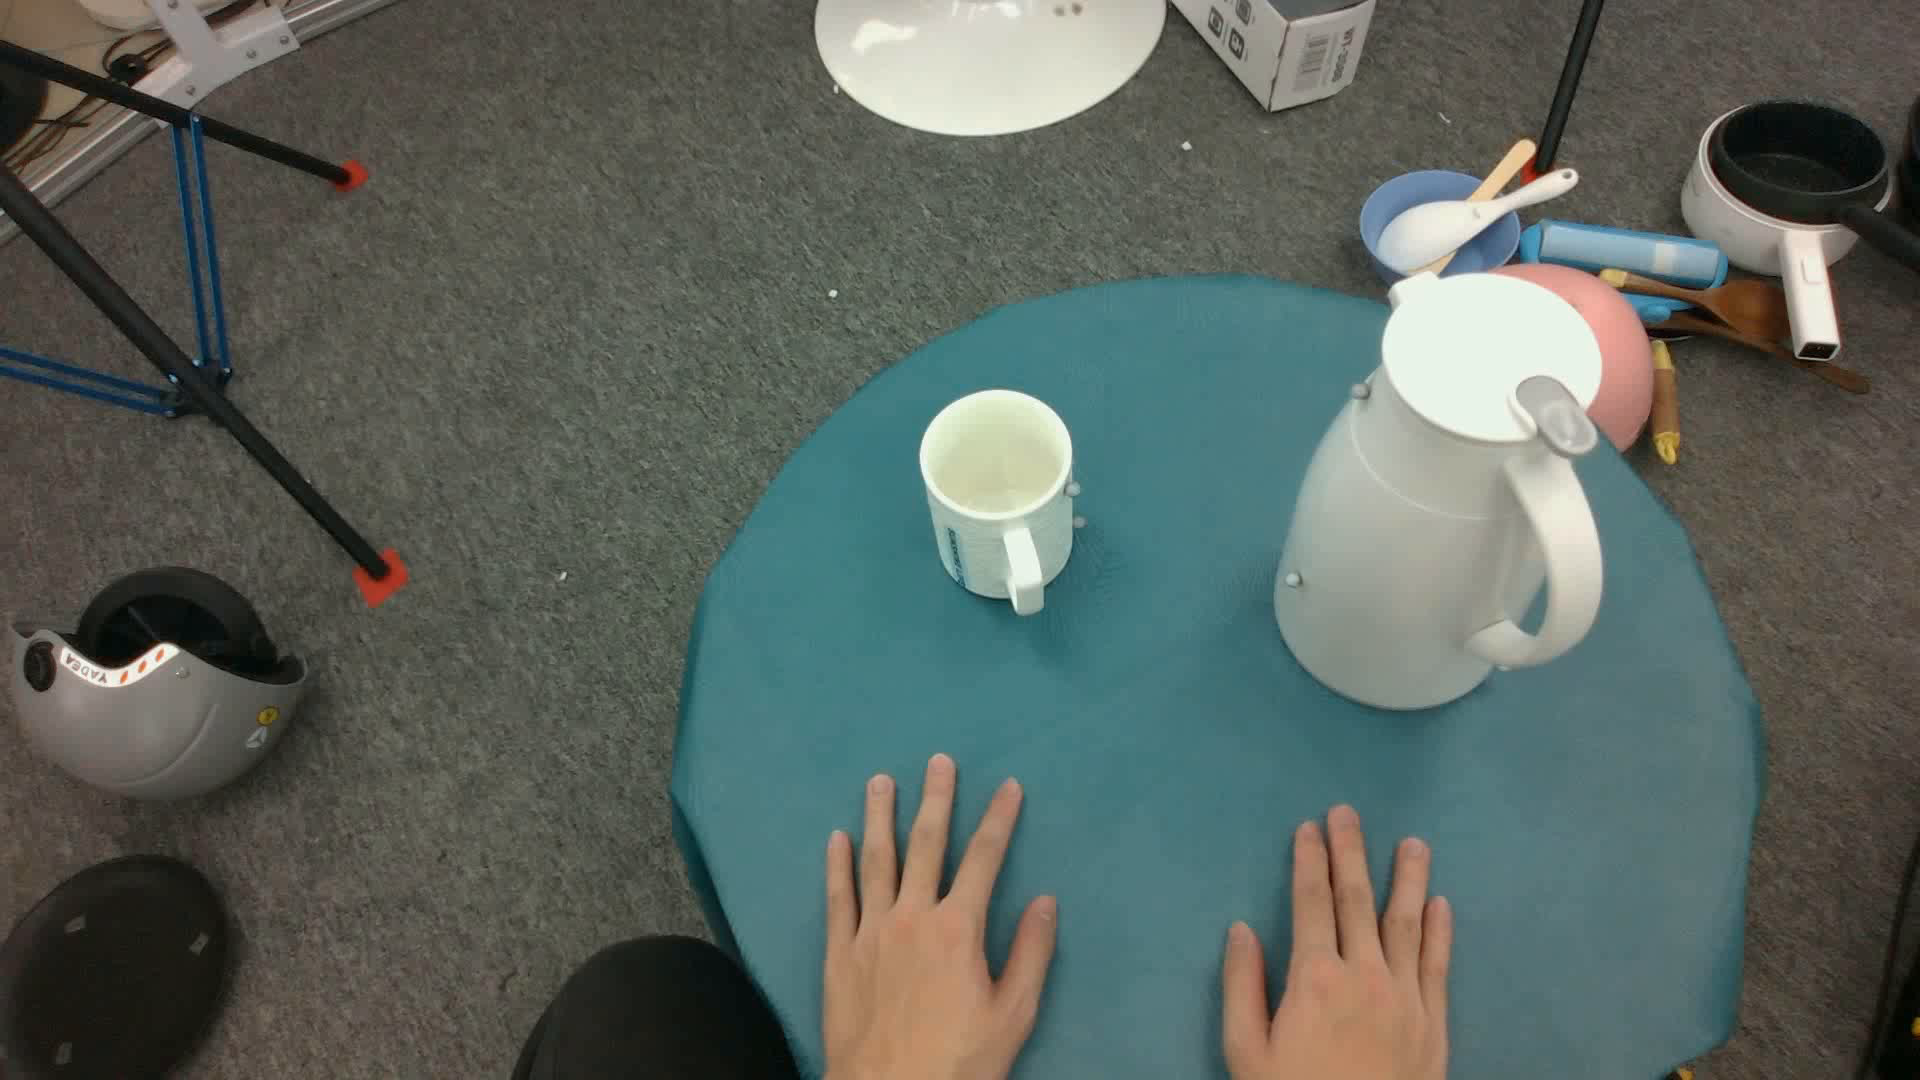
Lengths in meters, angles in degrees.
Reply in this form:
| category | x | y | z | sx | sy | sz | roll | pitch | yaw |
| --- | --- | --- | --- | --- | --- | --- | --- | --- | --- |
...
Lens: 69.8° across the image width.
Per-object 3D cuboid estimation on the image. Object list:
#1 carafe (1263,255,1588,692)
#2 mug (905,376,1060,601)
| category | x | y | z | sx | sy | sz | roll | pitch | yaw |
| --- | --- | --- | --- | --- | --- | --- | --- | --- | --- |
| carafe | 0.244 | -0.018 | 0.695 | 0.133 | 0.247 | 0.168 | -23 | 61 | -9 |
| mug | 0.020 | -0.019 | 0.798 | 0.085 | 0.101 | 0.118 | -16 | 60 | -4 |
